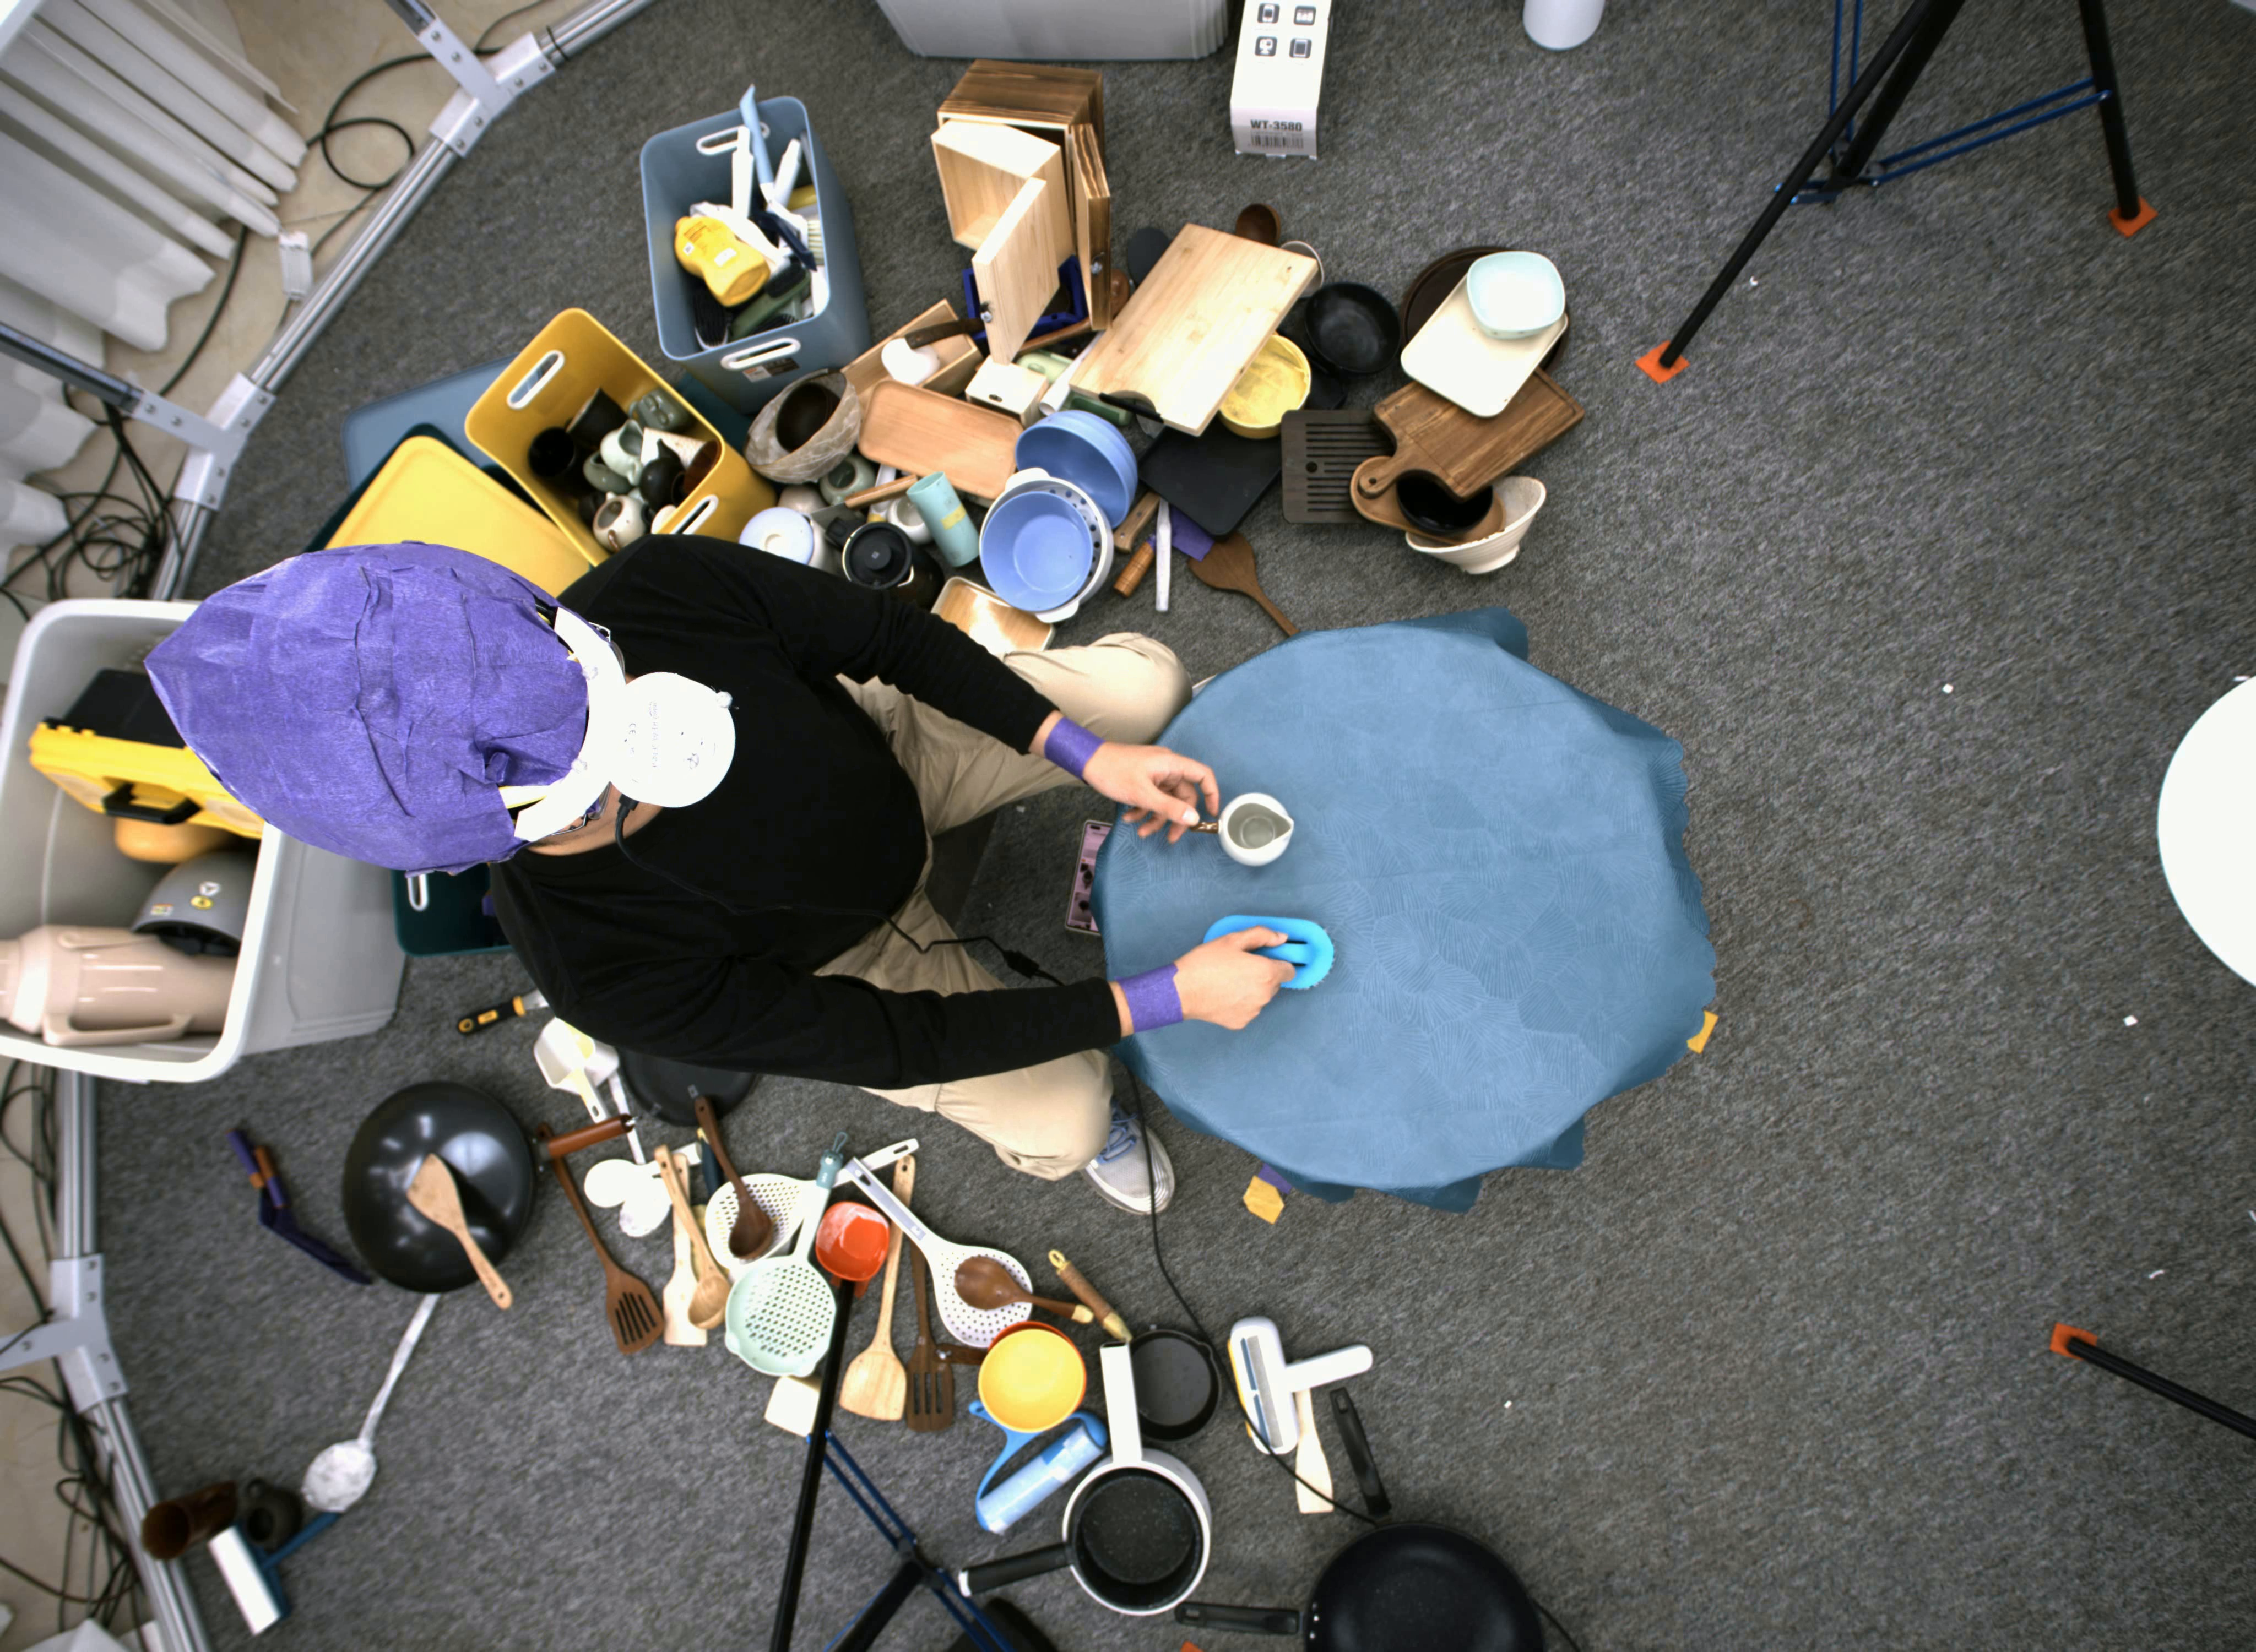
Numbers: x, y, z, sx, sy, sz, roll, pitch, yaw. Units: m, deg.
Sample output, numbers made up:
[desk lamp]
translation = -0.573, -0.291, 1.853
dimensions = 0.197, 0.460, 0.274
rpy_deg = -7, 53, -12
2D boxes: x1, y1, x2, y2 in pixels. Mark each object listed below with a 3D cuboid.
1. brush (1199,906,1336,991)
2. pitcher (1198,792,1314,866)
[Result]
[brush]
translation = 0.144, 0.127, 1.446
dimensions = 0.142, 0.063, 0.084
rpy_deg = 4, 91, 11
[pitcher]
translation = 0.133, 0.004, 1.444
dimensions = 0.119, 0.088, 0.075
rpy_deg = 5, 80, 7
